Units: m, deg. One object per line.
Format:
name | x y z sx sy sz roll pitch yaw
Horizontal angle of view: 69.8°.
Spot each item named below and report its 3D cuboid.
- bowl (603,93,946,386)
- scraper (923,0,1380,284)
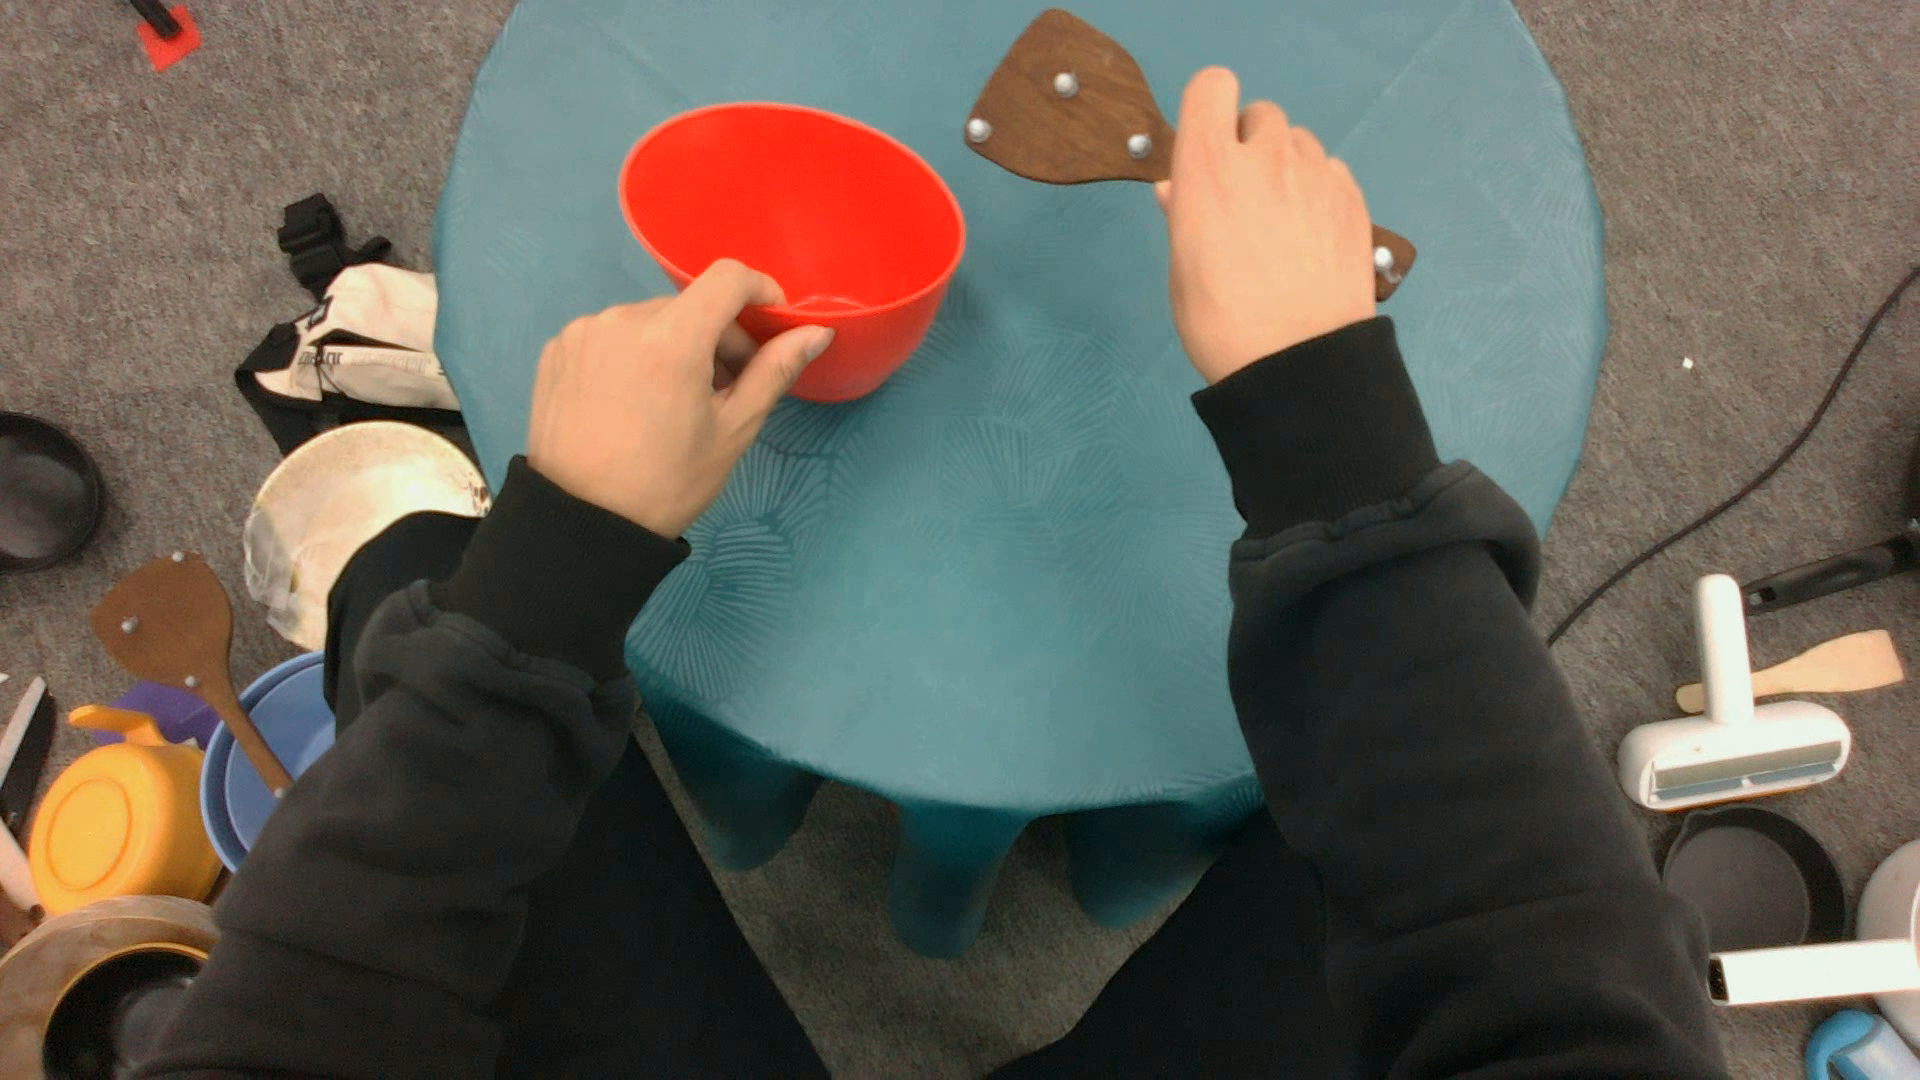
bowl | -0.082 -0.129 0.634 0.148 0.104 0.148 2 50 -3
scraper | 0.078 -0.161 0.575 0.211 0.011 0.076 34 92 25
